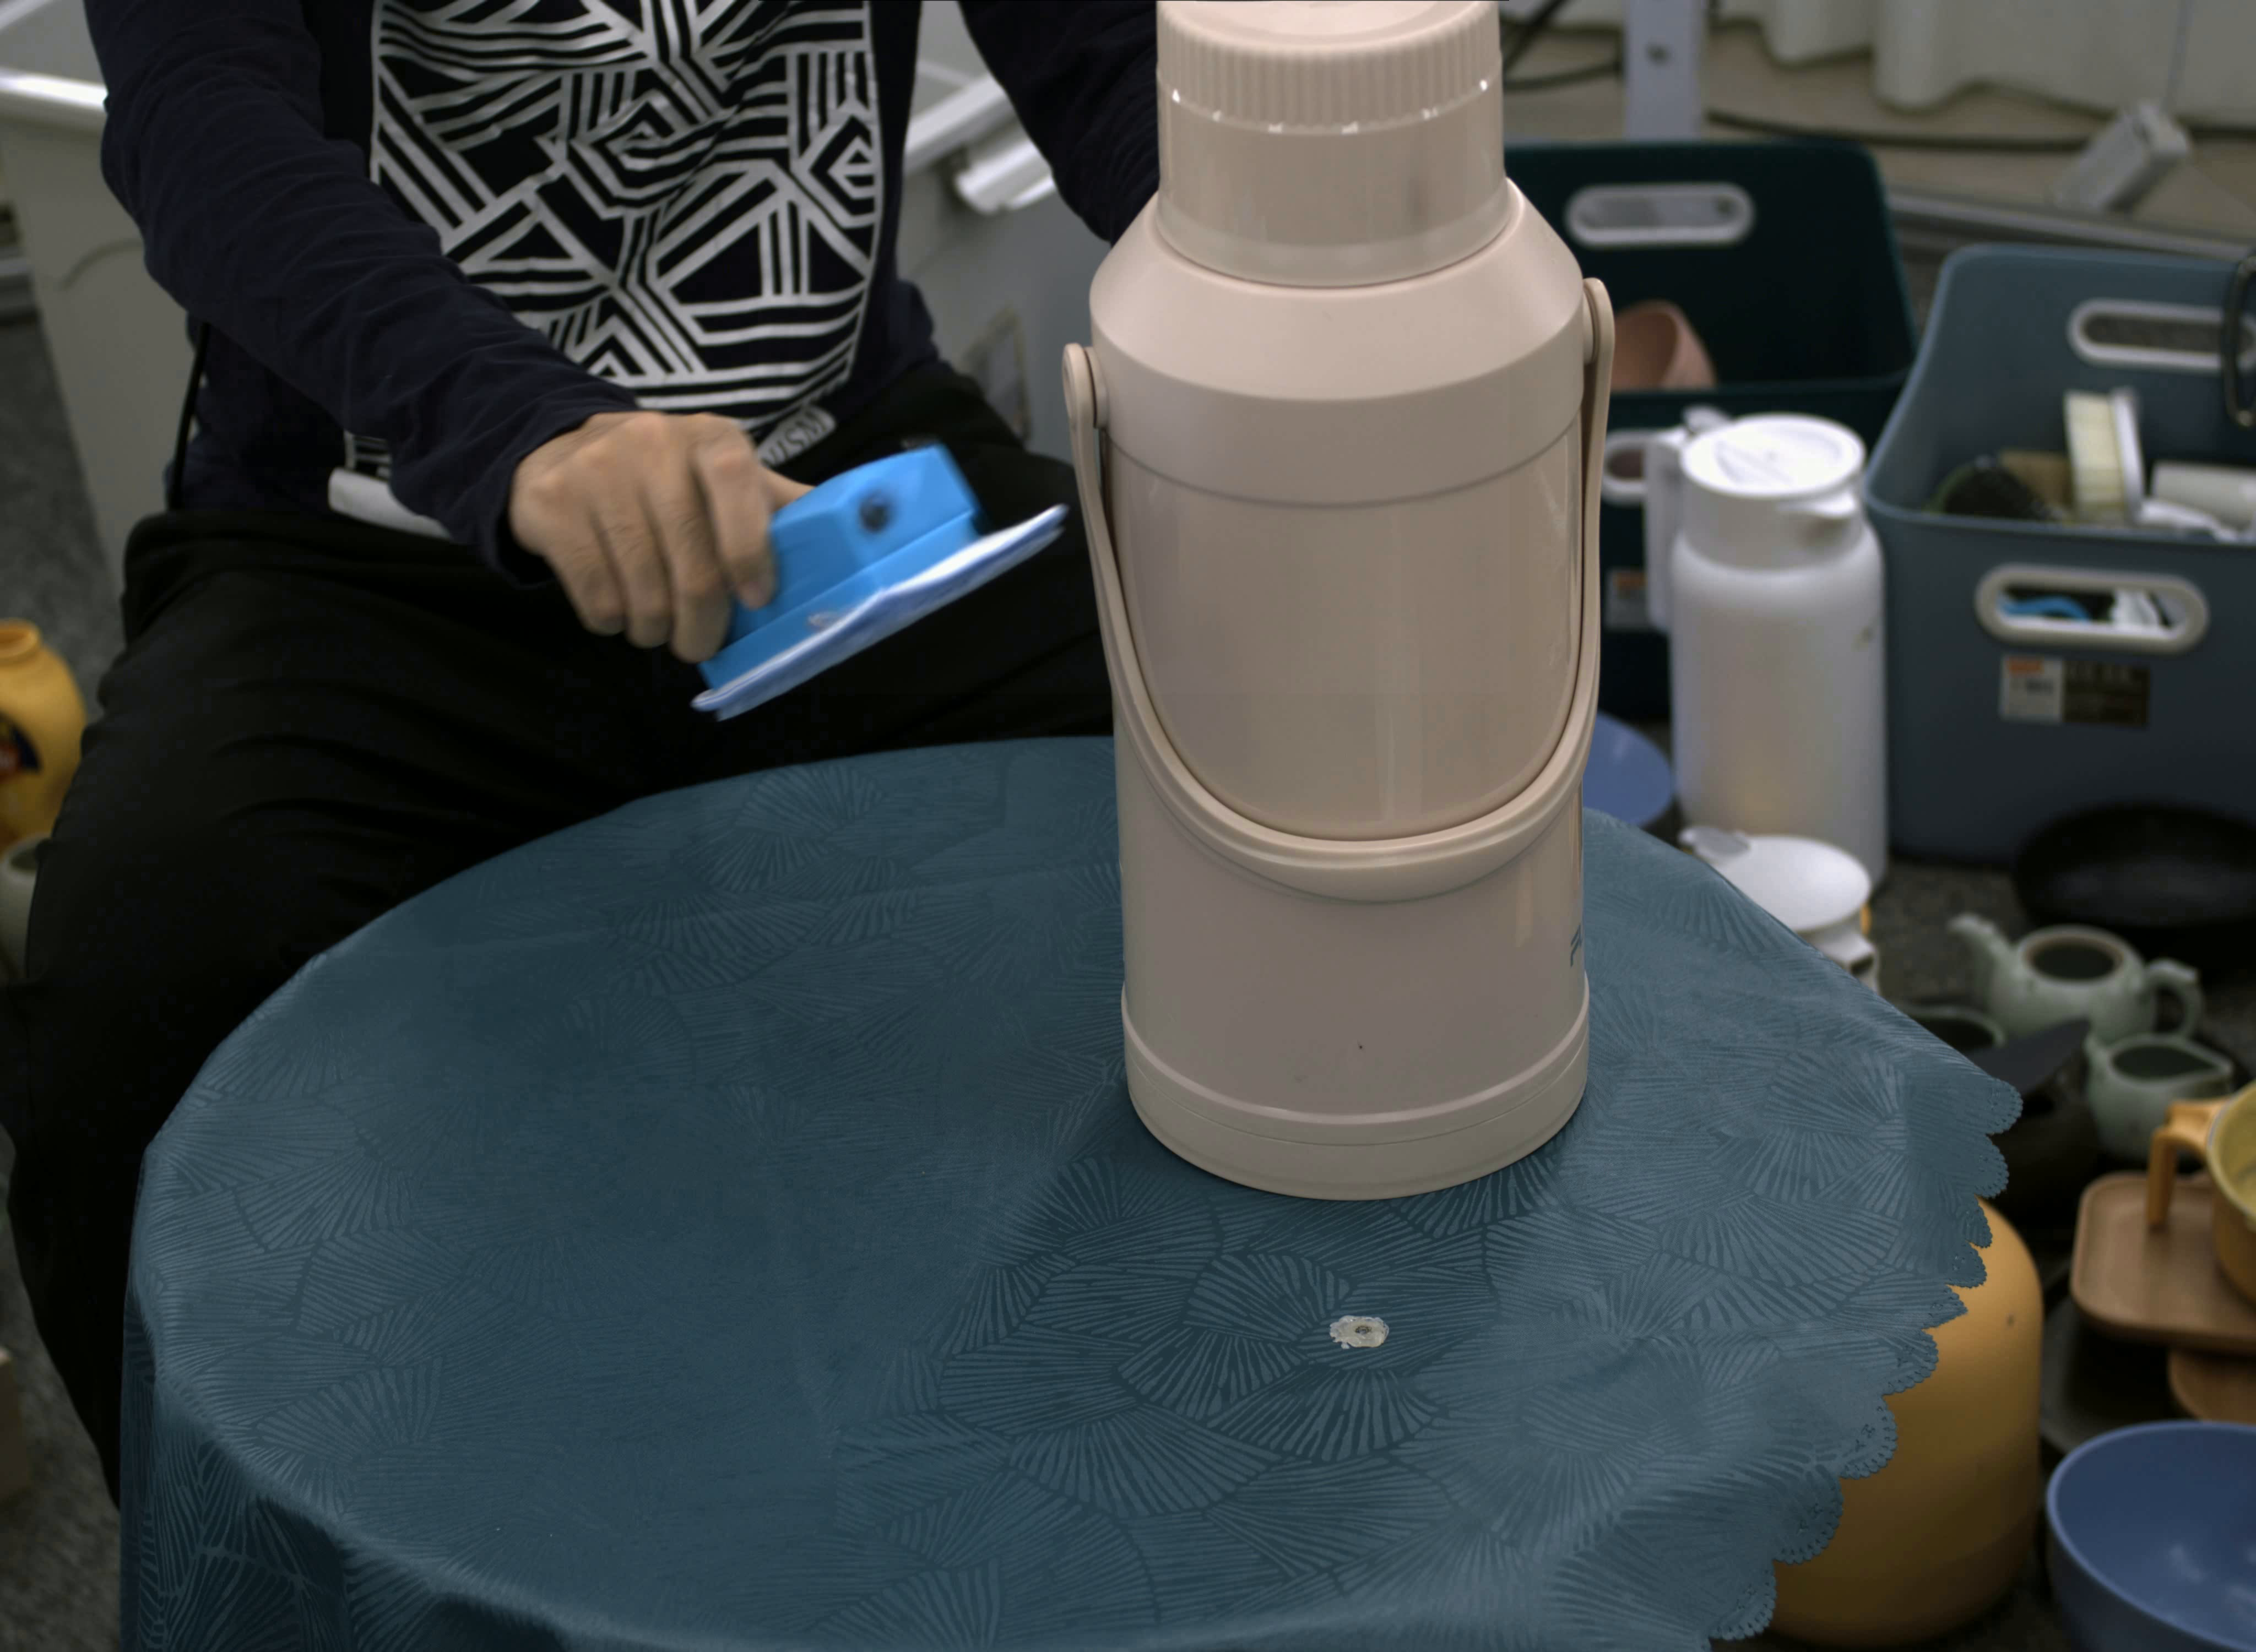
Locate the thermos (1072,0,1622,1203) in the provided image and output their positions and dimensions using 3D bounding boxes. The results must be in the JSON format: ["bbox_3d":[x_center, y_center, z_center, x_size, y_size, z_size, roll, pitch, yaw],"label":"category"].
[{"bbox_3d":[0.072,-0.094,1.833,0.175,0.402,0.209,-10,29,-9],"label":"thermos"}]

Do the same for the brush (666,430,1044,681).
[{"bbox_3d":[-0.090,-0.087,1.737,0.085,0.056,0.142,-26,2,-31],"label":"brush"}]
